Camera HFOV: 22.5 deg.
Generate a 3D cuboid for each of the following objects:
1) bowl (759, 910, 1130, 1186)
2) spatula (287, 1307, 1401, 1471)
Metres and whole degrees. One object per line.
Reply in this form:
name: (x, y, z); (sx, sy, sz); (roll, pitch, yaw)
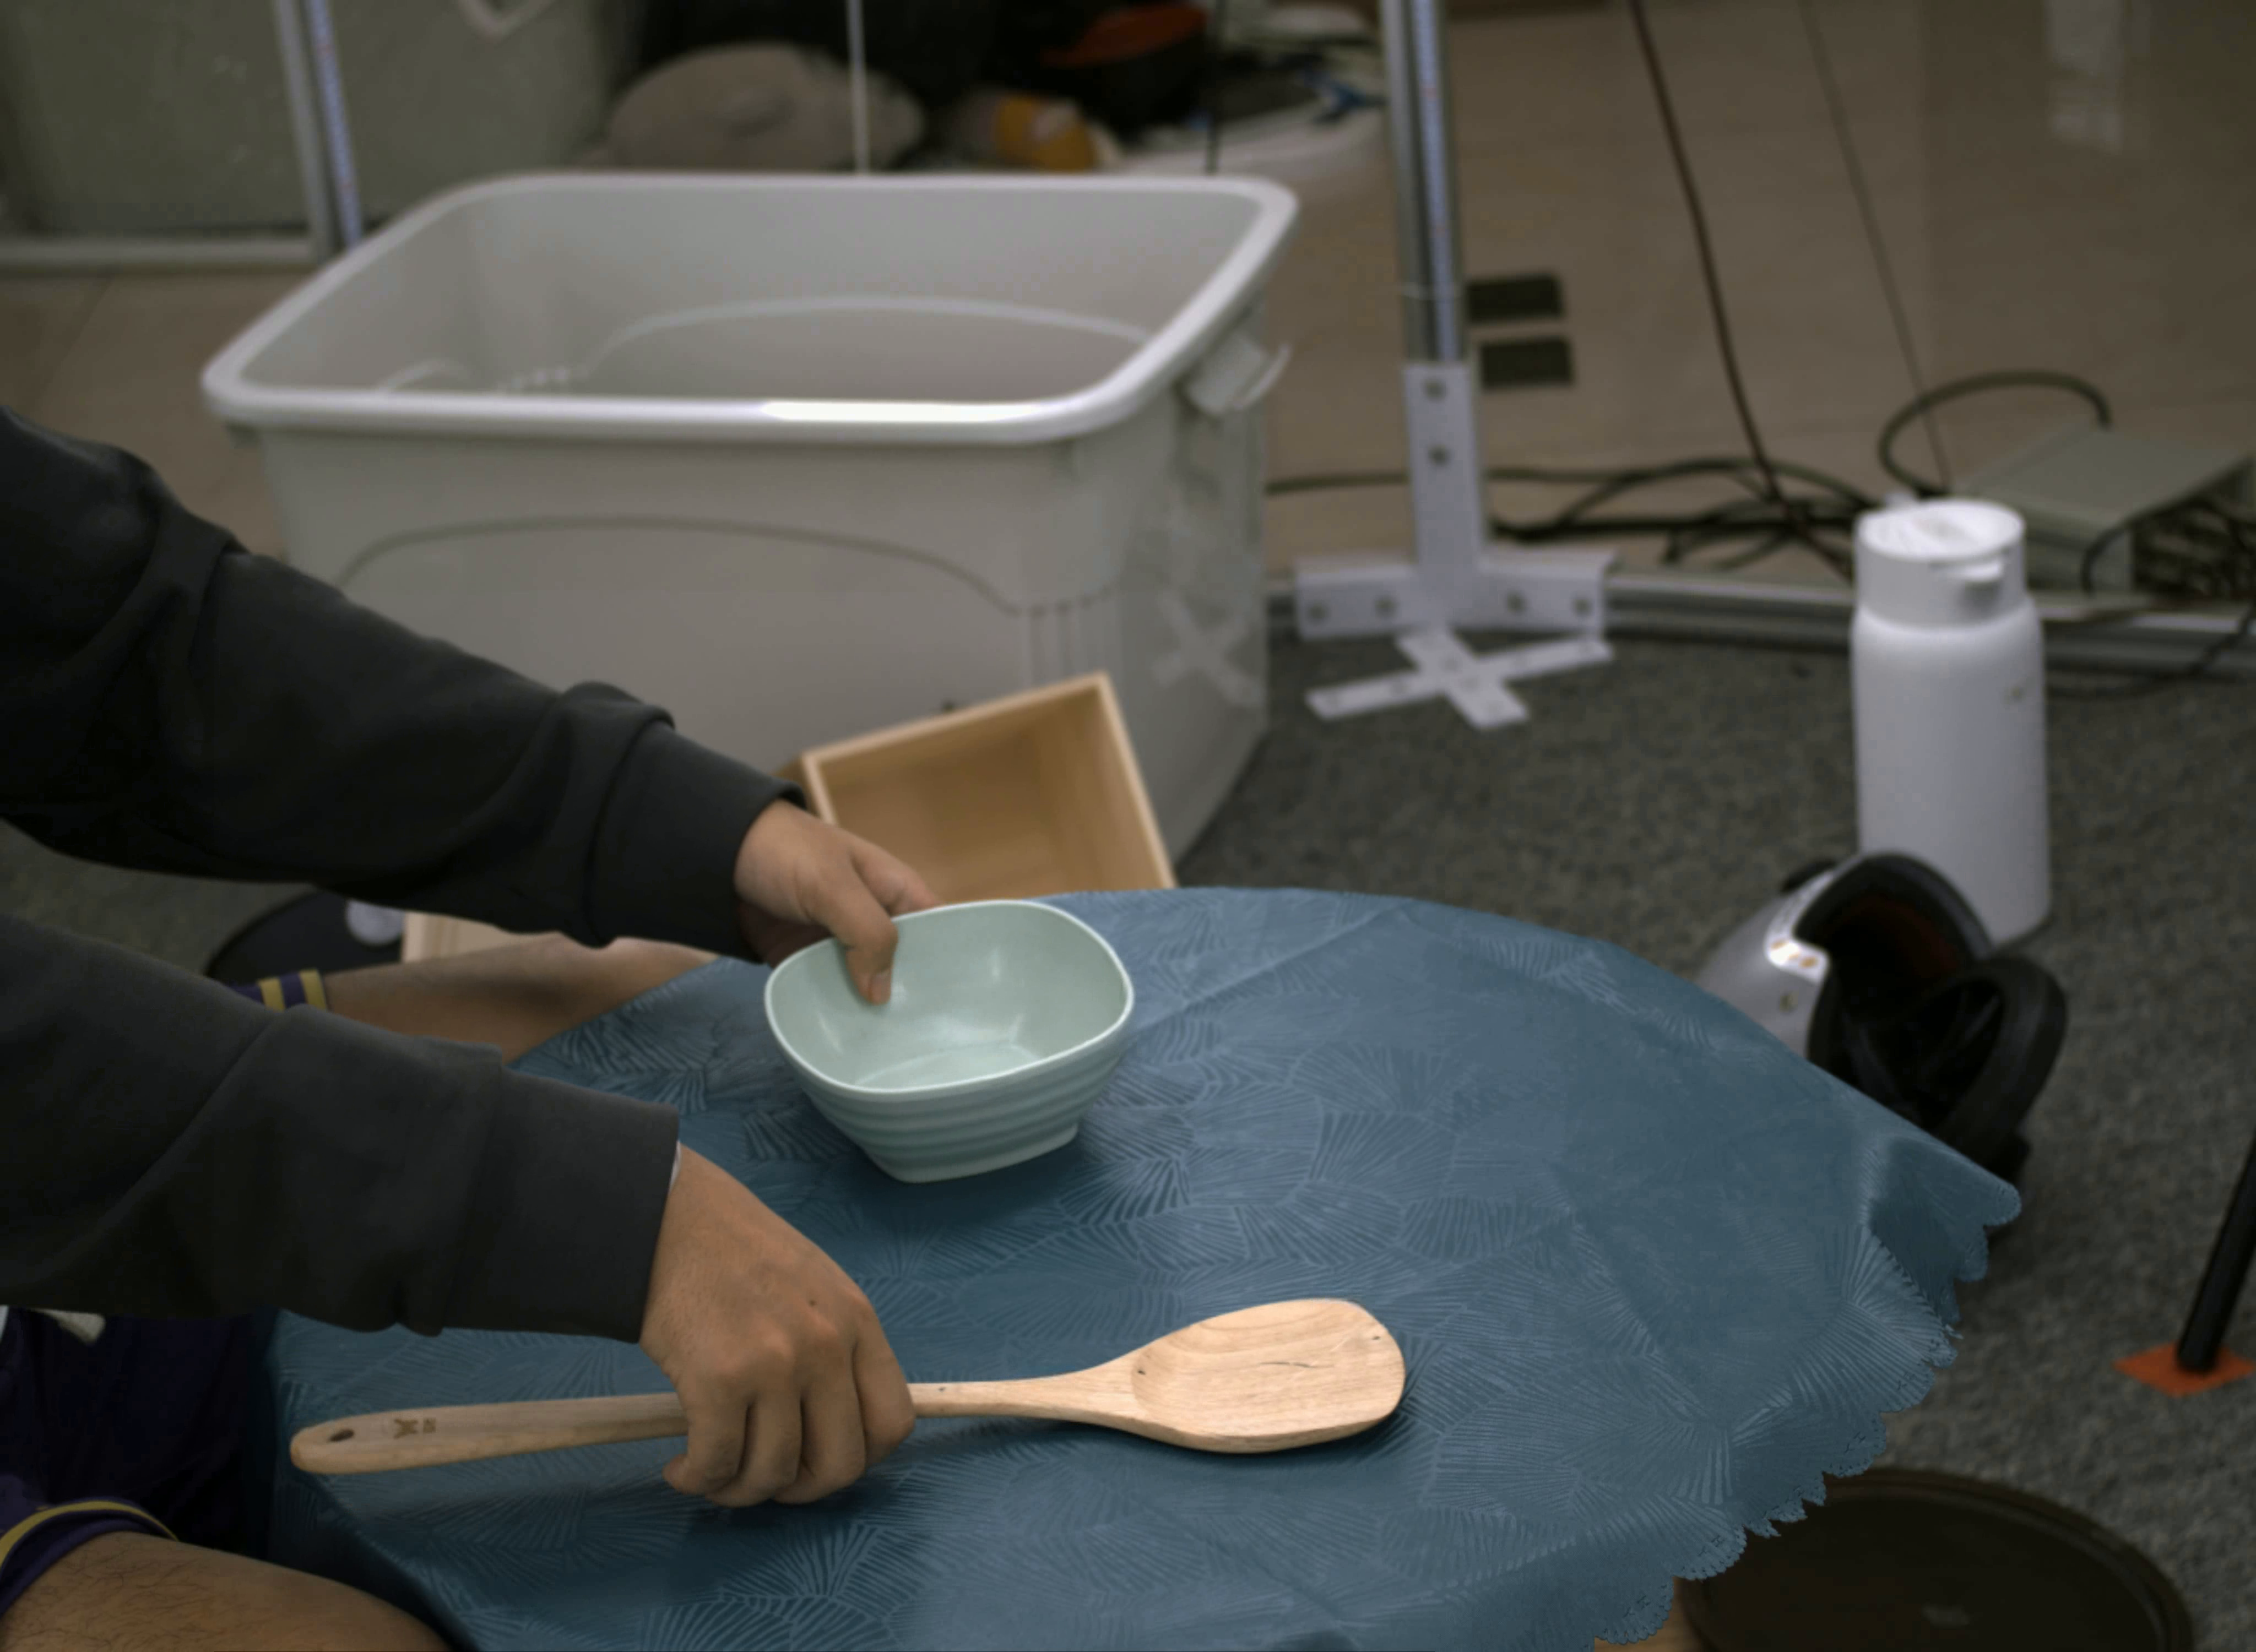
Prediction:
bowl: (-0.070, 0.091, 2.196); (0.151, 0.059, 0.149); (-3, 28, 2)
spatula: (-0.099, 0.205, 1.987); (0.390, 0.019, 0.094); (-3, 22, -3)
